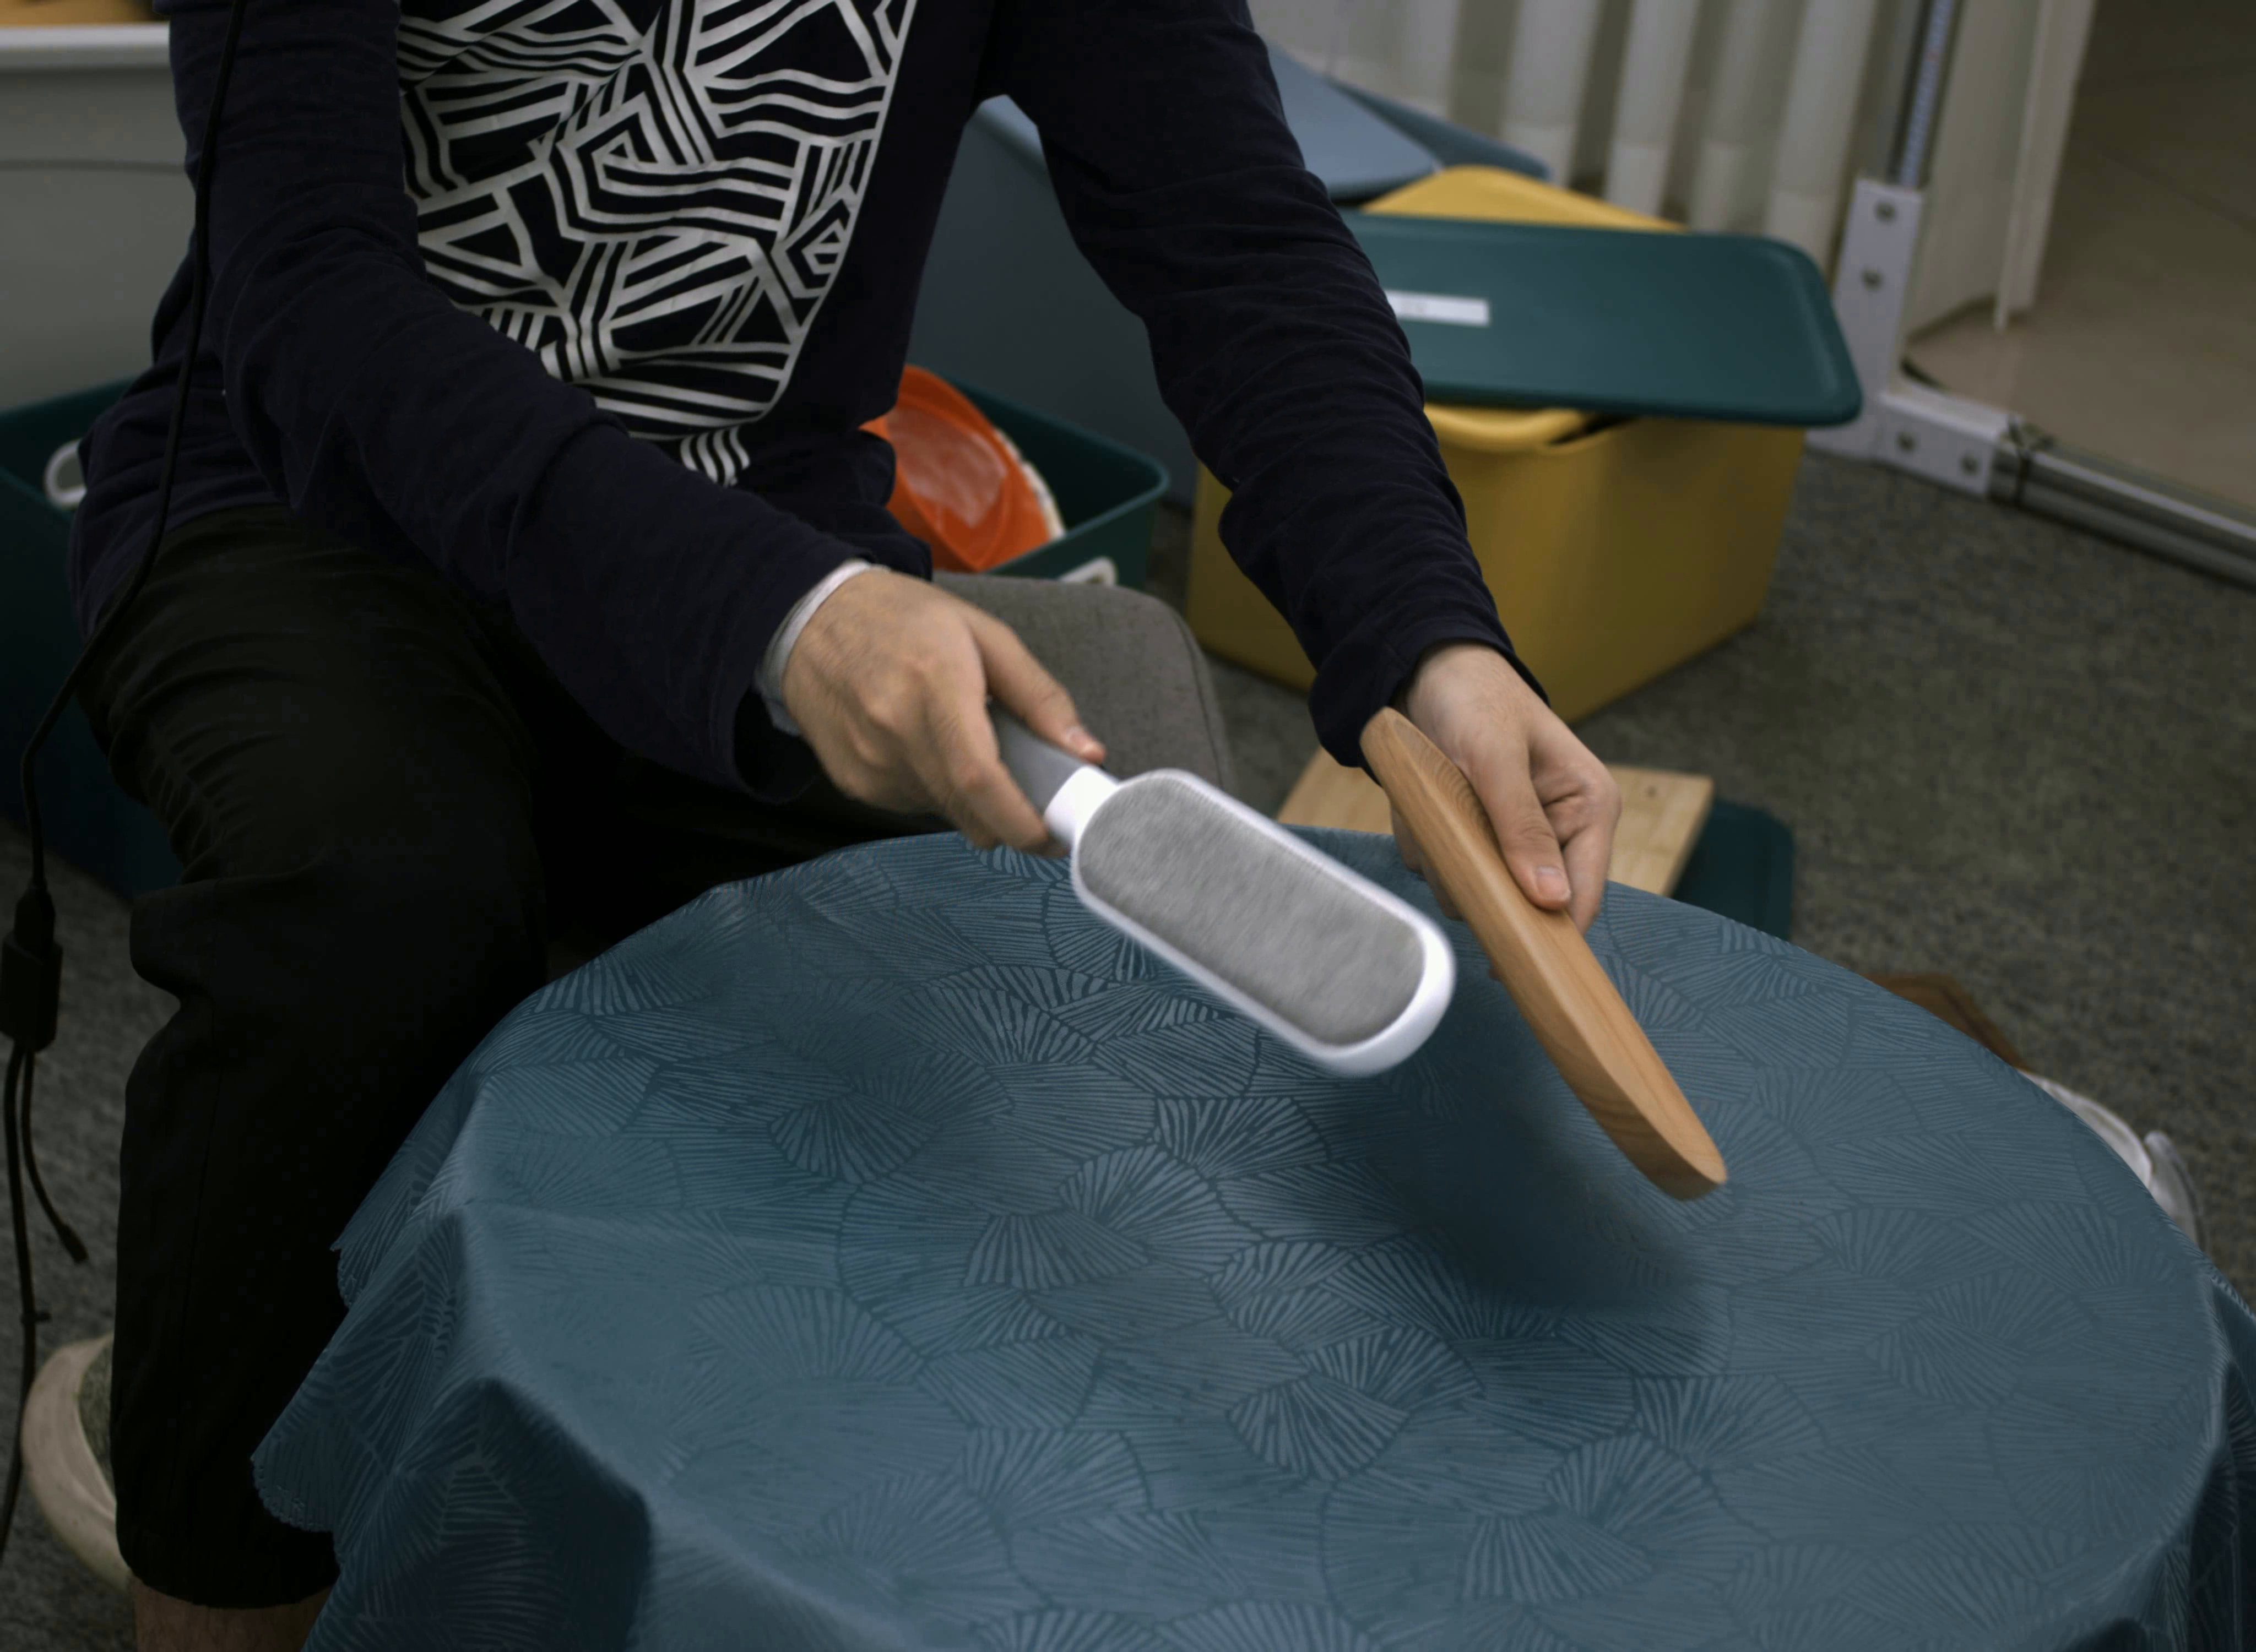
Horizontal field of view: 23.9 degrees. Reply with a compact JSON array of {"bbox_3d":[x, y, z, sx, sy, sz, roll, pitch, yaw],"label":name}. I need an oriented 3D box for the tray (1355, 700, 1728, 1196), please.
[{"bbox_3d":[0.139,0.041,1.826,0.101,0.020,0.233,42,12,-46],"label":"tray"}]

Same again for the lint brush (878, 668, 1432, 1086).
[{"bbox_3d":[0.002,0.008,1.781,0.021,0.060,0.311,37,-2,-41],"label":"lint brush"}]
